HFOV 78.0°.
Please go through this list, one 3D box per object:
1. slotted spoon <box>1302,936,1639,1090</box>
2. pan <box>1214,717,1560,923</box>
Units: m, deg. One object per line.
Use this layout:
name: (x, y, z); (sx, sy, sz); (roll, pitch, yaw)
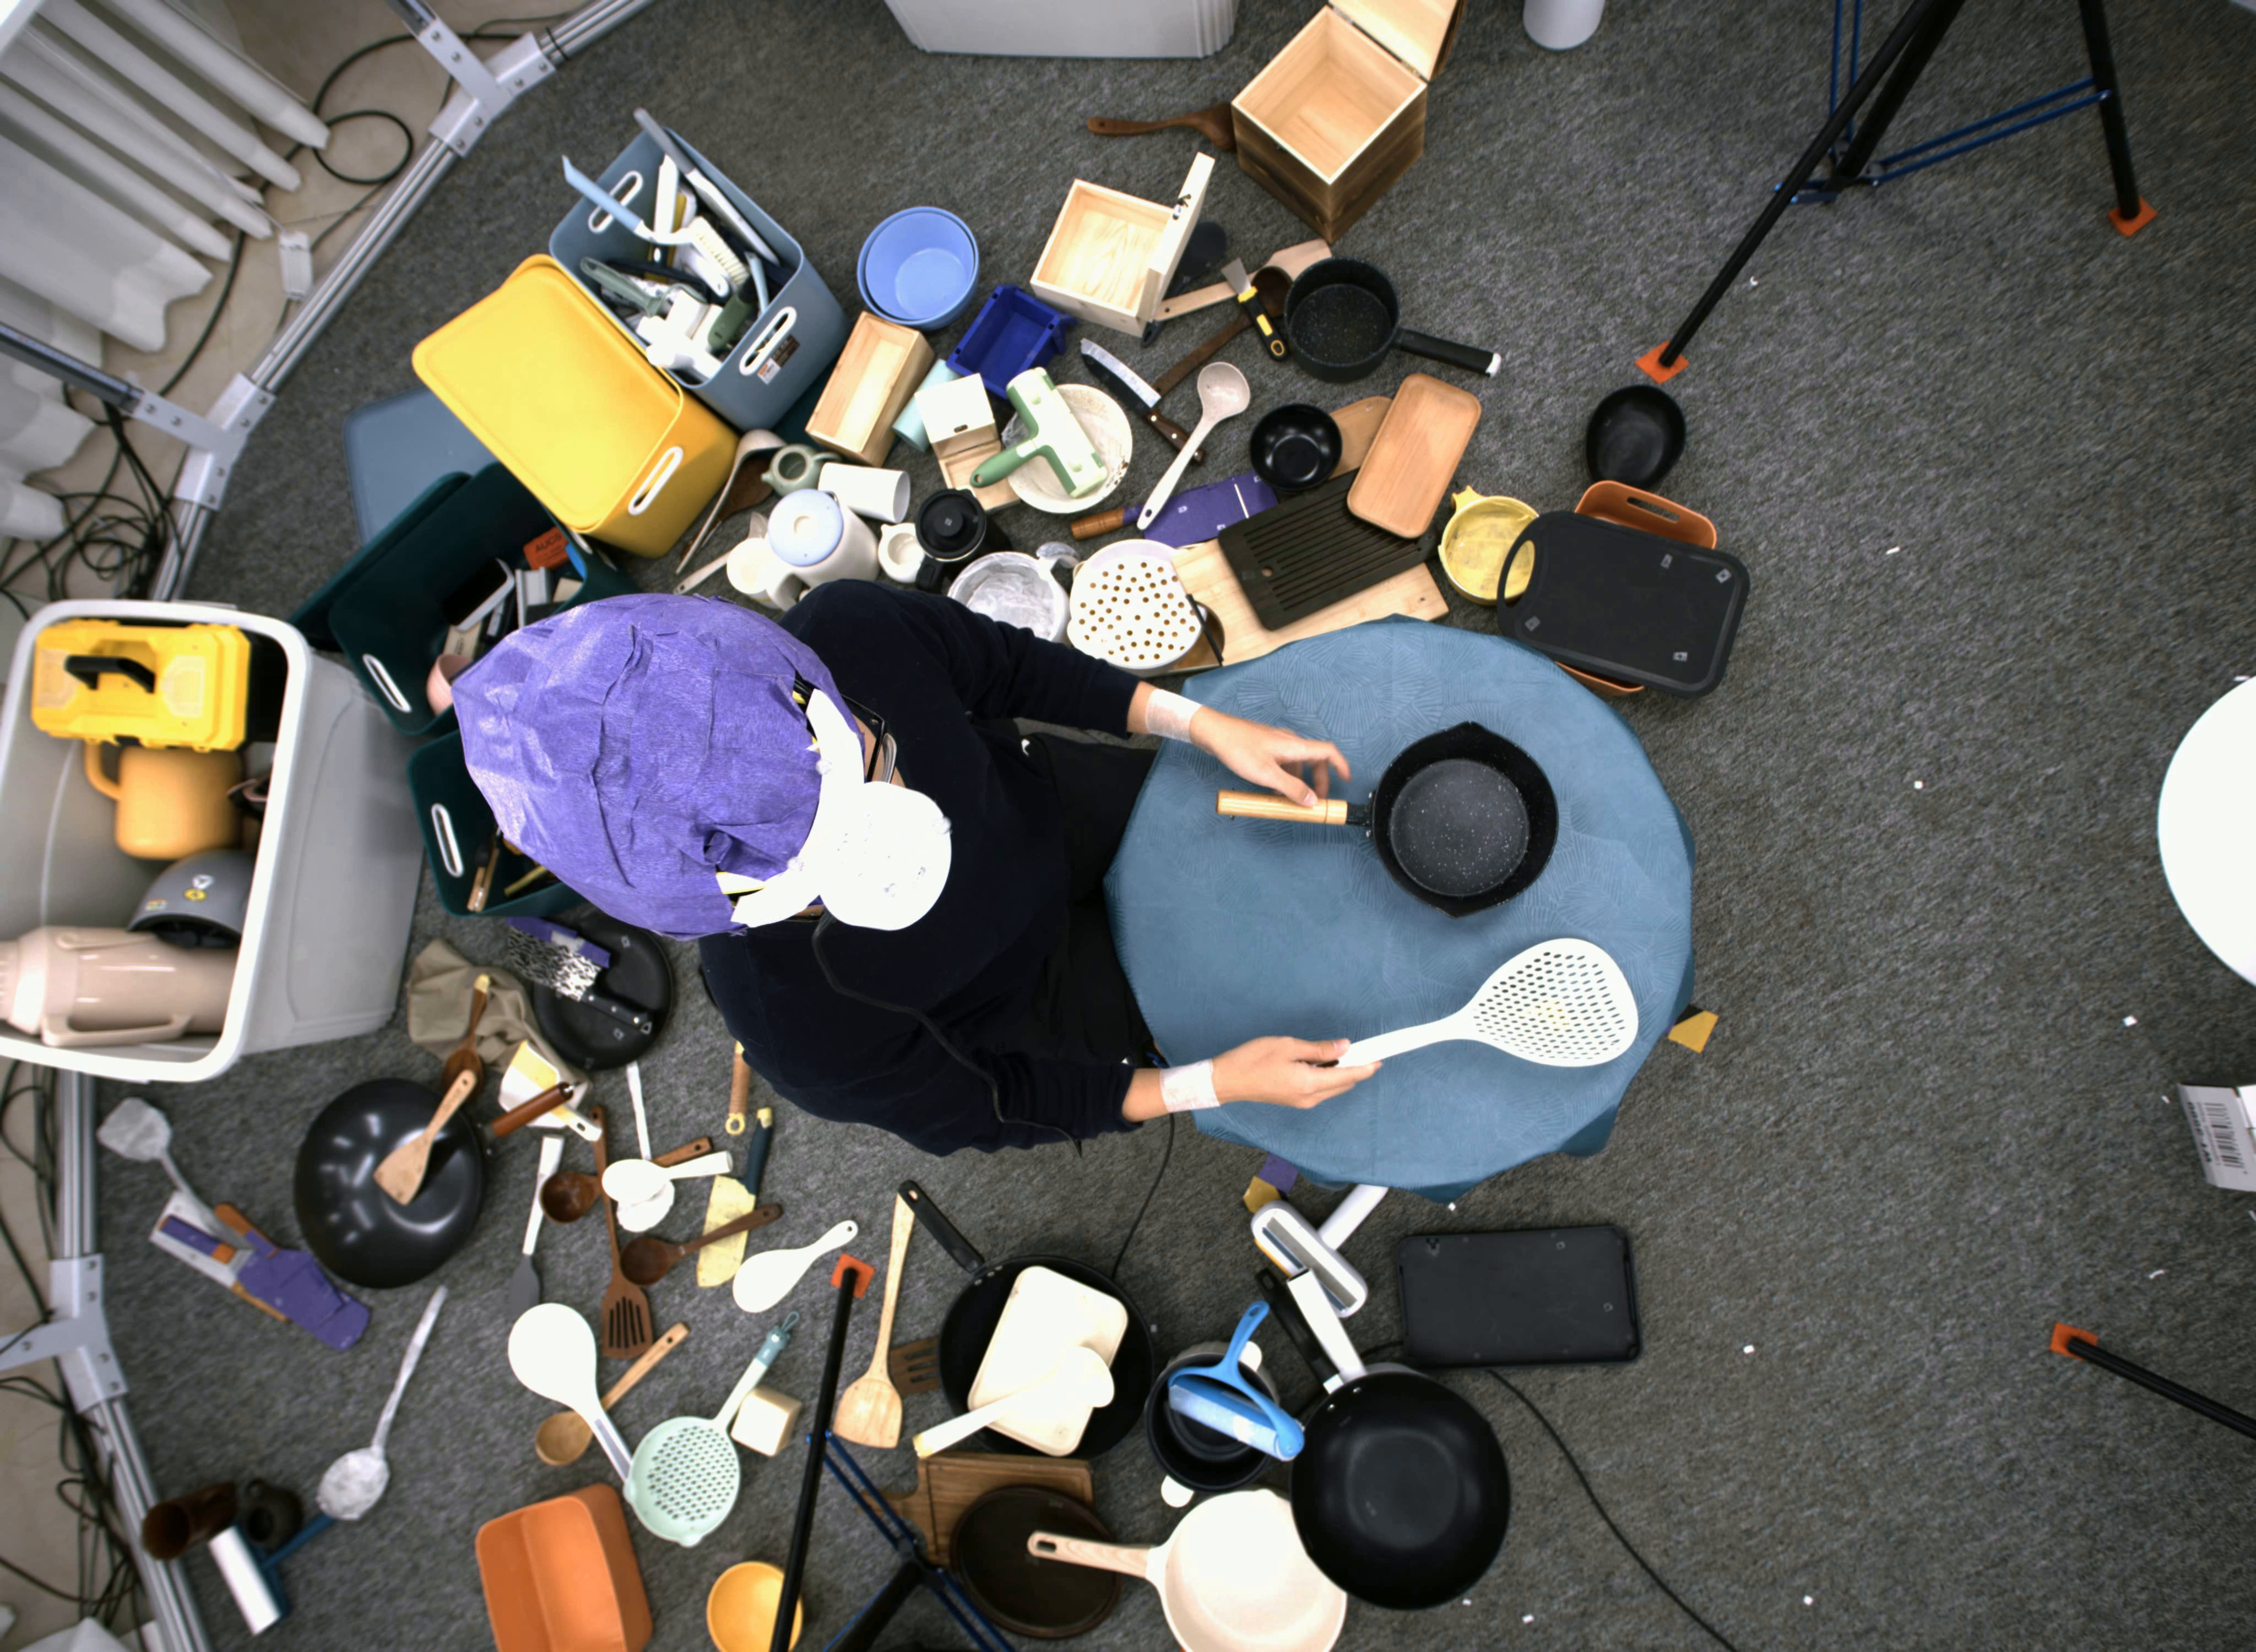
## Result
slotted spoon: (0.339, 0.202, 1.377); (0.347, 0.051, 0.134); (-11, 64, -10)
pan: (0.261, -0.009, 1.411); (0.344, 0.108, 0.207); (3, 88, 9)
